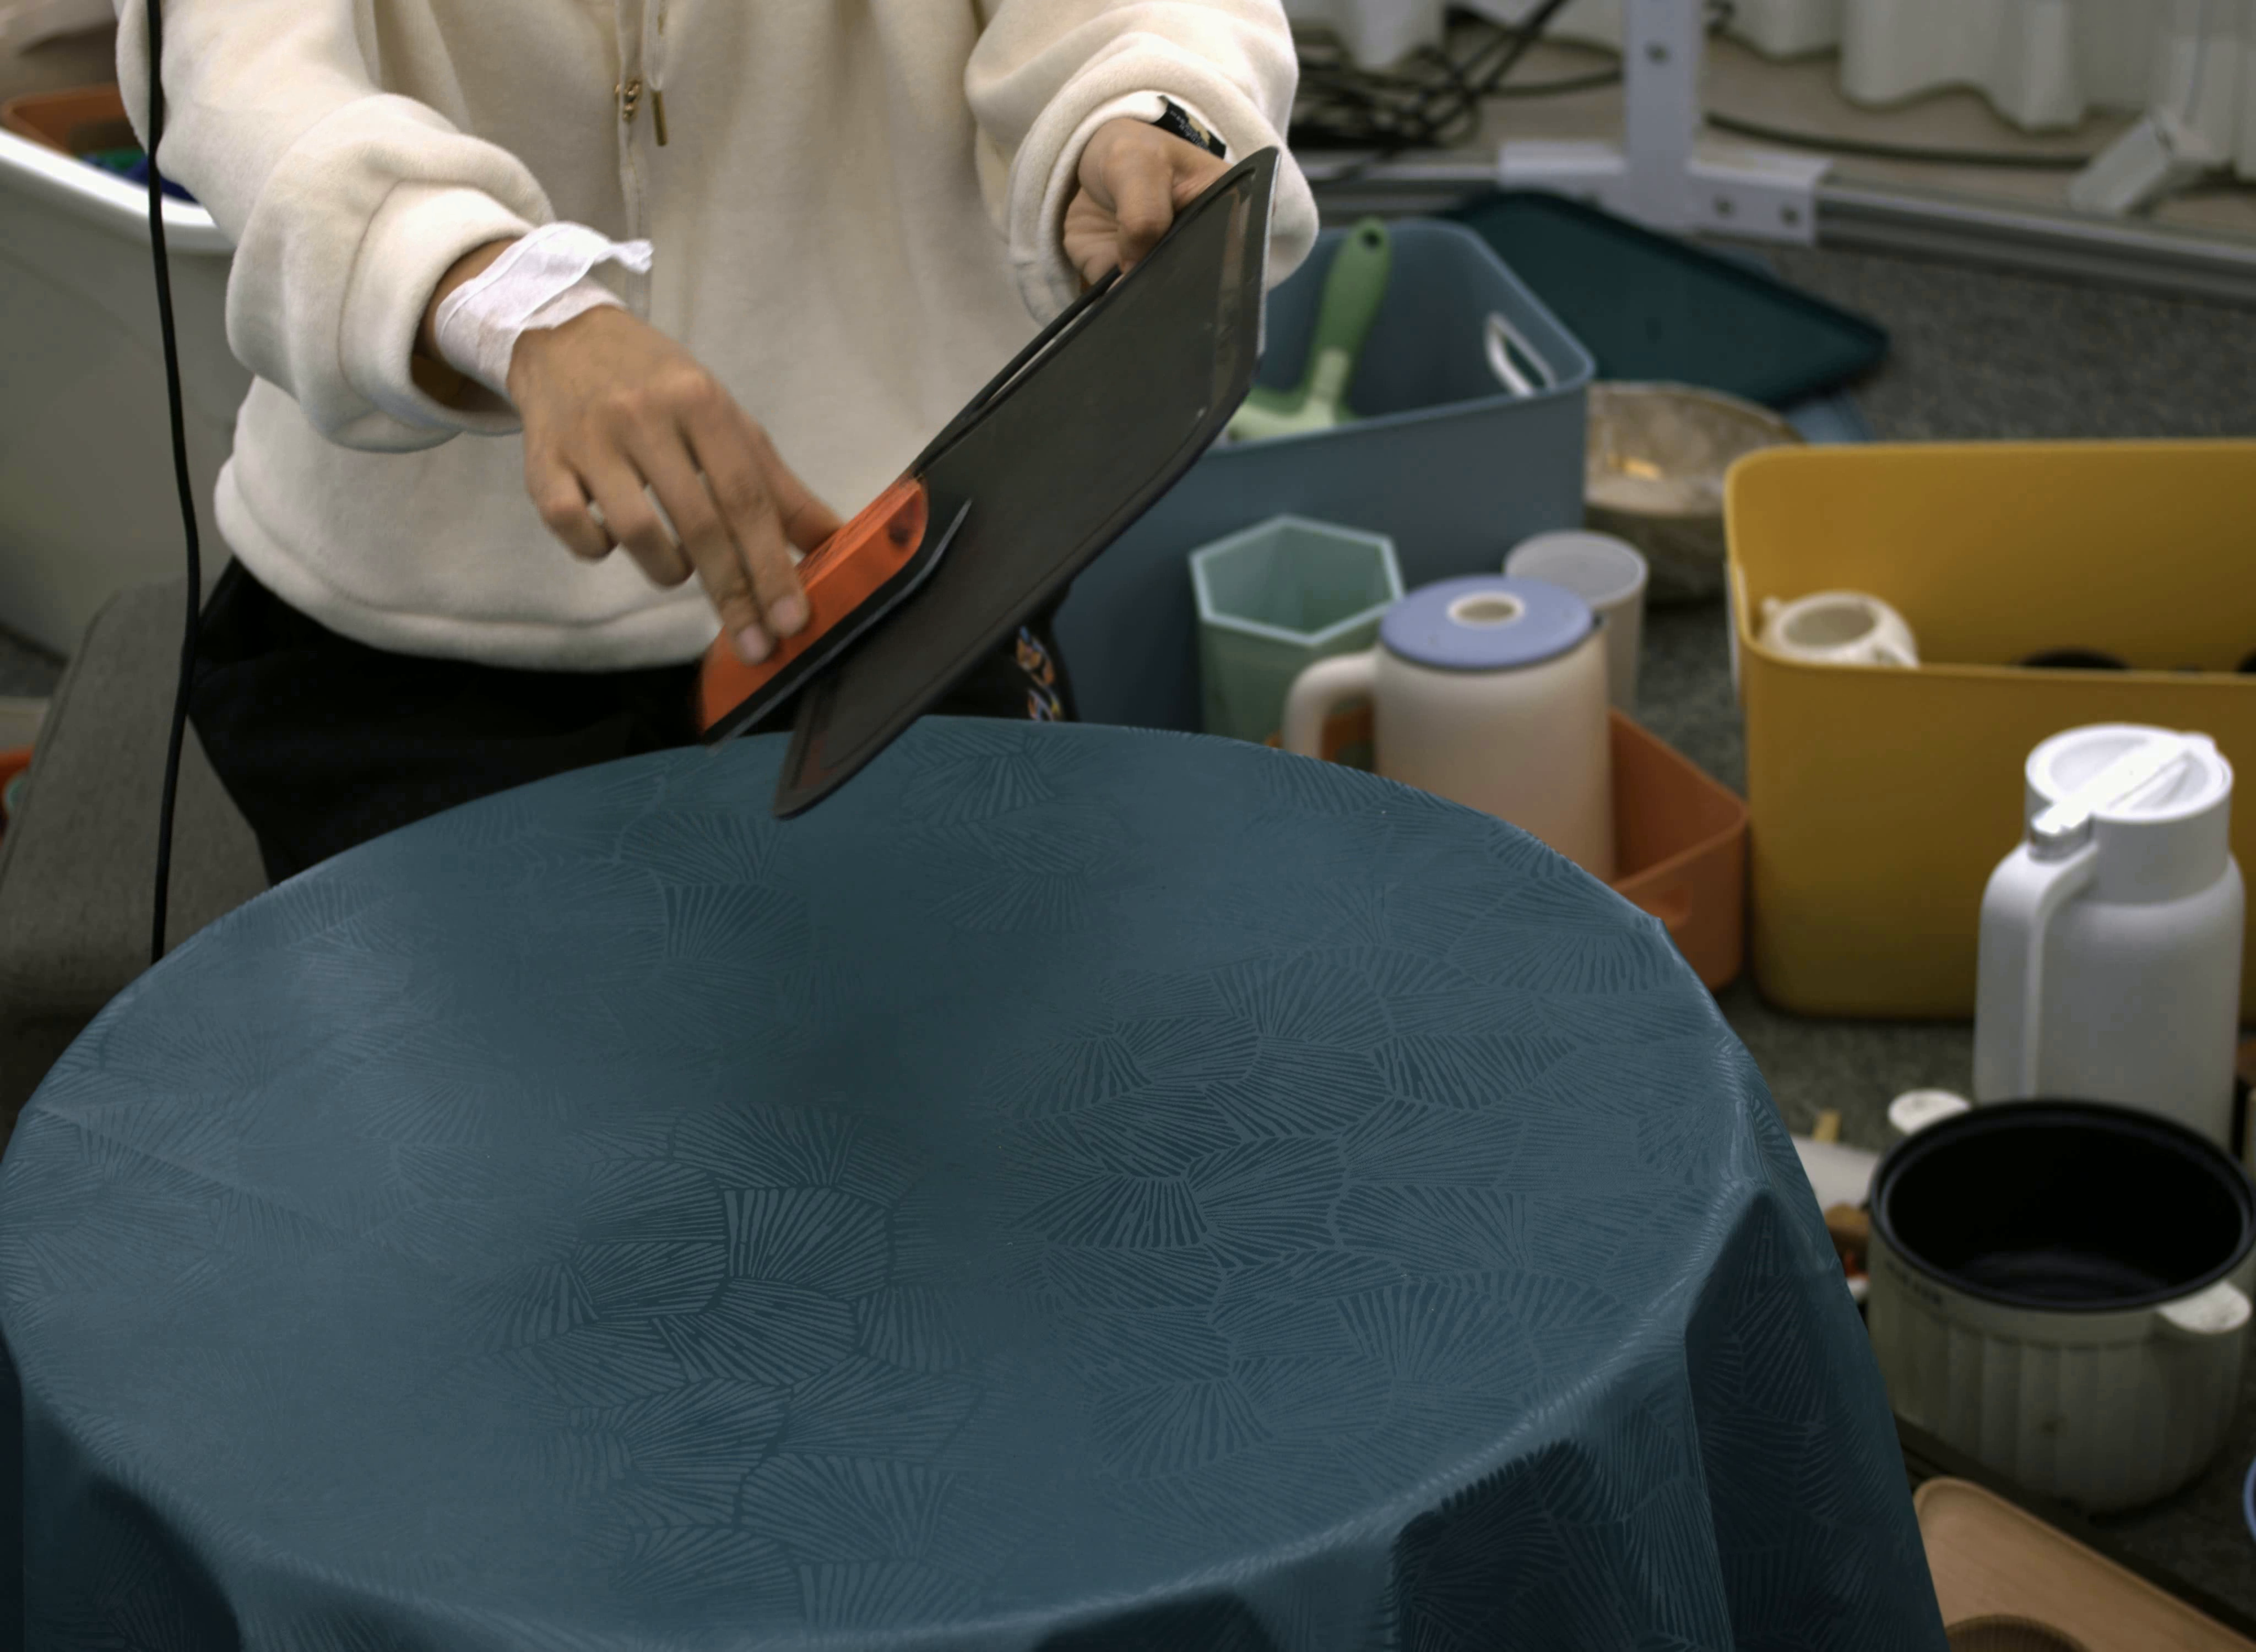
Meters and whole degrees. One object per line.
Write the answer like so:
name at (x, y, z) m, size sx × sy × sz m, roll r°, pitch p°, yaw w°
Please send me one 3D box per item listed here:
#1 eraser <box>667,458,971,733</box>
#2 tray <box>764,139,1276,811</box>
eraser at (-0.100, -0.074, 1.822) m, size 0.106 × 0.023 × 0.060 m, roll -37°, pitch 9°, yaw 28°
tray at (-0.032, -0.120, 1.805) m, size 0.209 × 0.010 × 0.330 m, roll -42°, pitch 15°, yaw 18°
